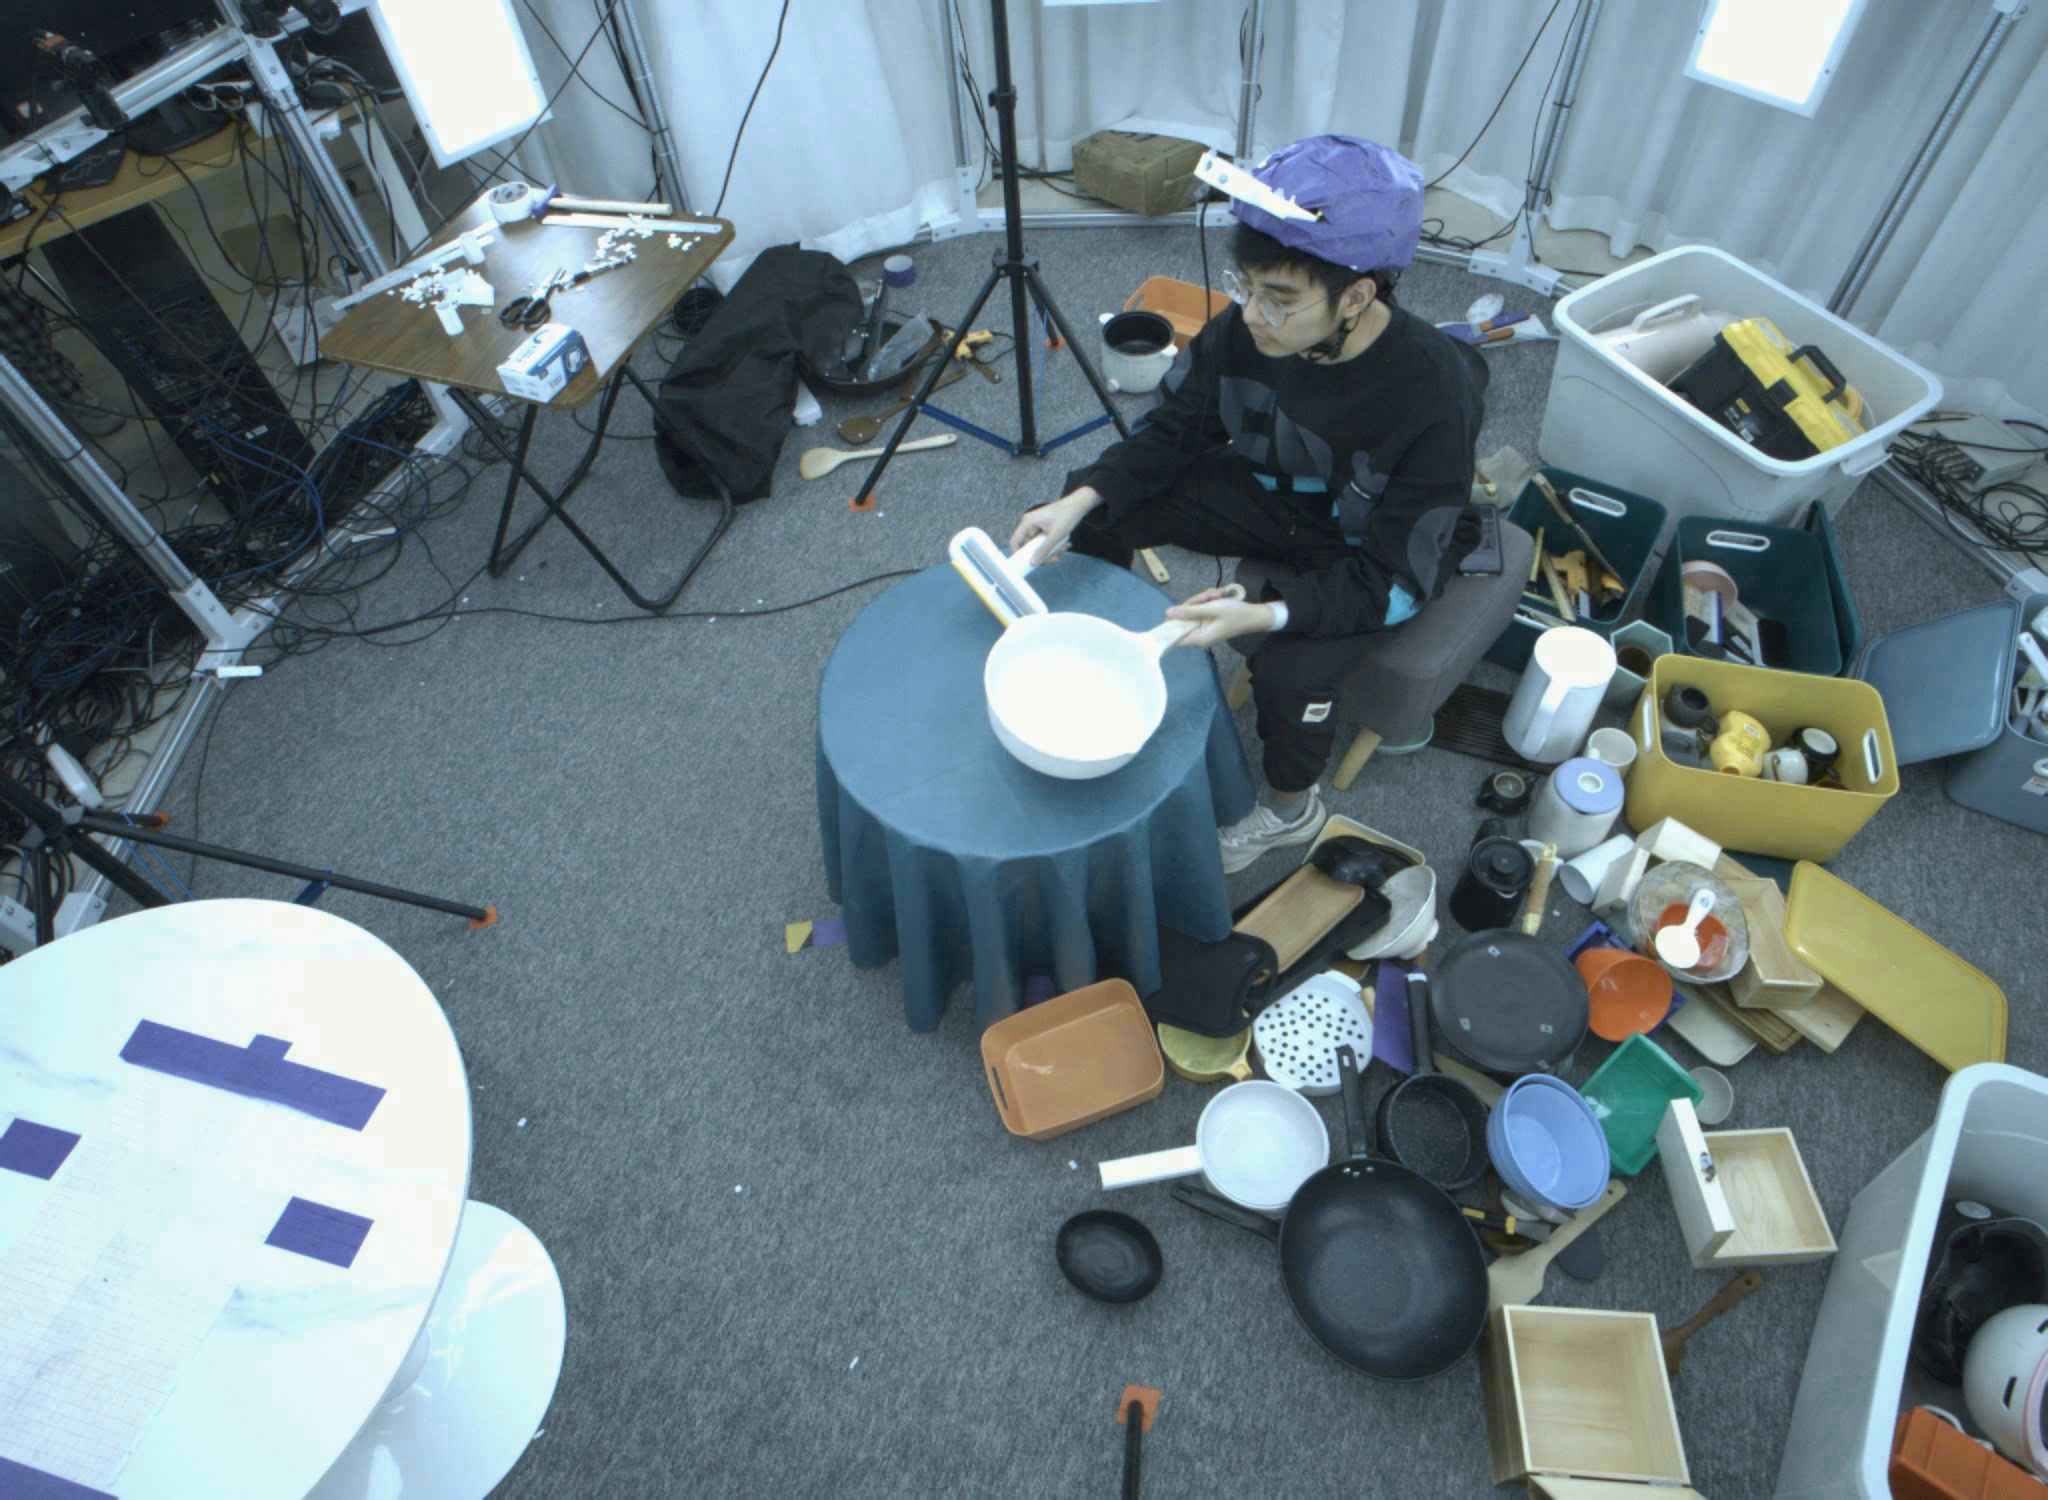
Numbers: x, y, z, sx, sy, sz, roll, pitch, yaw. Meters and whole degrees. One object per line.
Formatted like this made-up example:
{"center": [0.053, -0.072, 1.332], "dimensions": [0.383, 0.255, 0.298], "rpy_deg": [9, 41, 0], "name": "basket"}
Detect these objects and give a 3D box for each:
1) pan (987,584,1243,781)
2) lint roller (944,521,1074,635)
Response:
{"center": [0.142, -0.111, 1.740], "dimensions": [0.439, 0.102, 0.259], "rpy_deg": [-30, 65, -27], "name": "pan"}
{"center": [-0.001, -0.296, 1.899], "dimensions": [0.193, 0.074, 0.193], "rpy_deg": [-38, 91, -13], "name": "lint roller"}
